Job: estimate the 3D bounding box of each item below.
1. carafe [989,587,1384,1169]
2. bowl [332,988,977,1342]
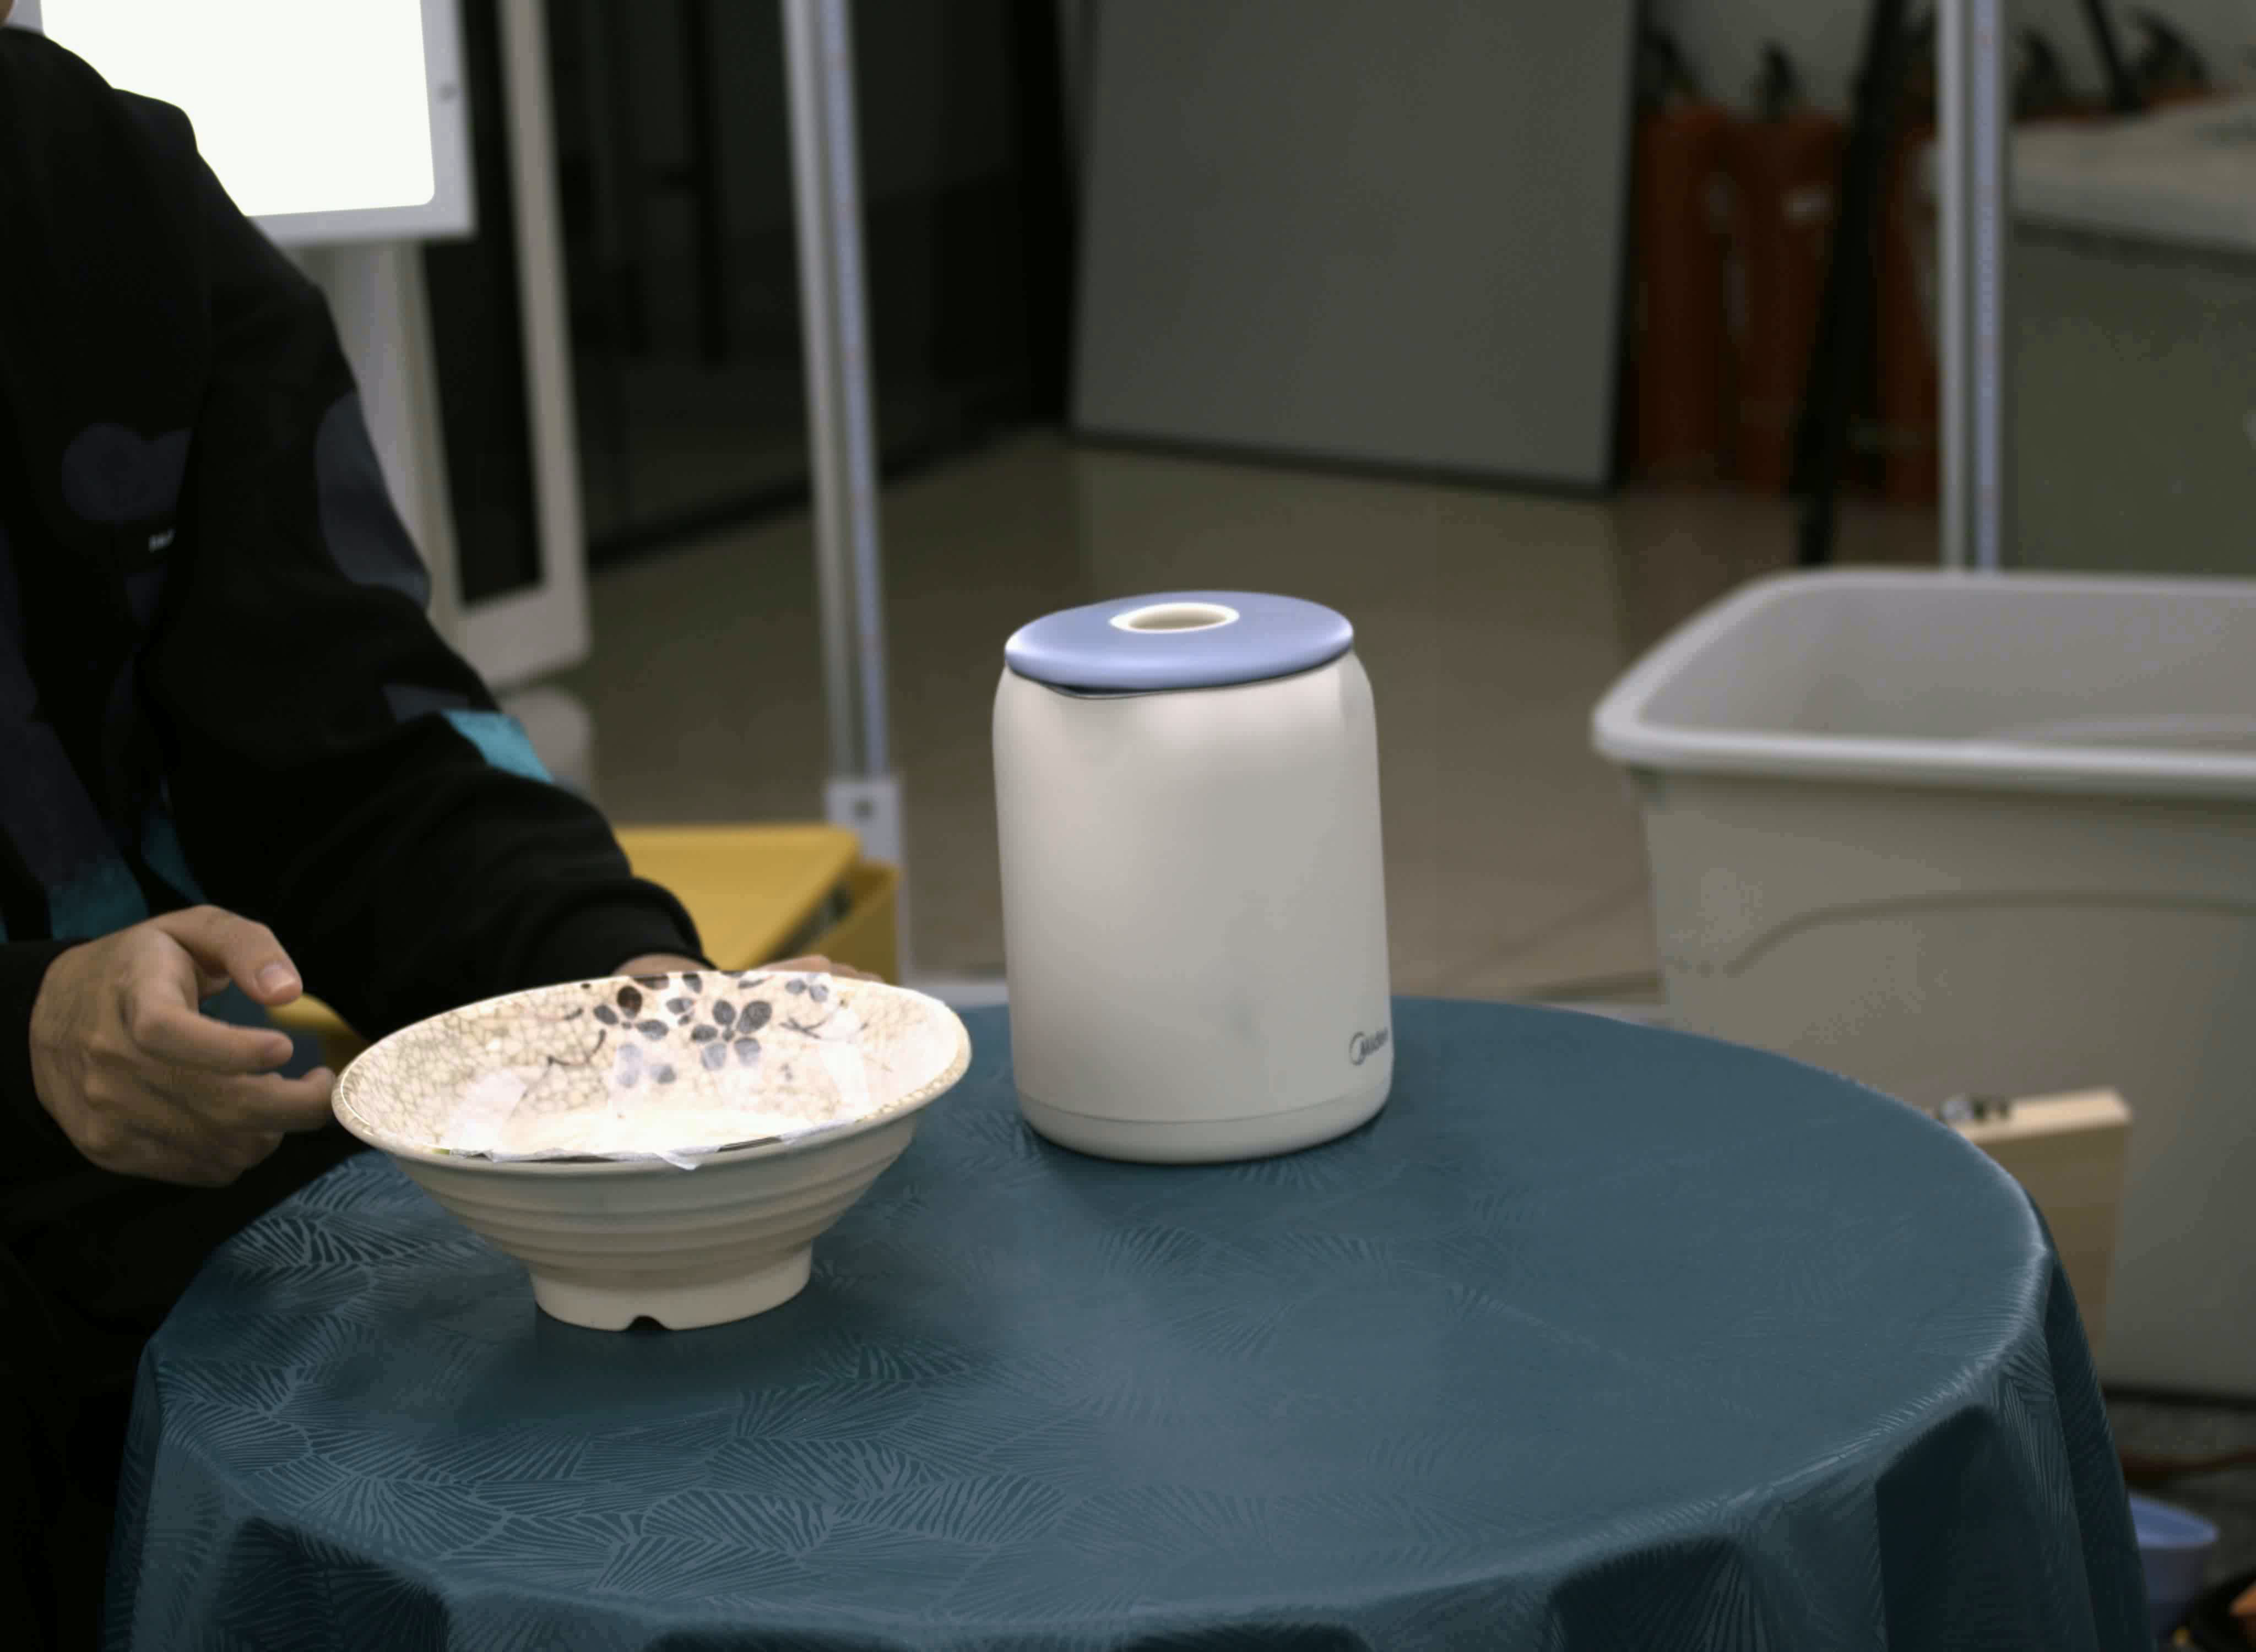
[{"bbox_3d":[0.031,0.012,1.849,0.132,0.184,0.188,4,13,26],"label":"carafe"},{"bbox_3d":[-0.144,0.112,1.696,0.201,0.079,0.204,-5,12,0],"label":"bowl"}]
